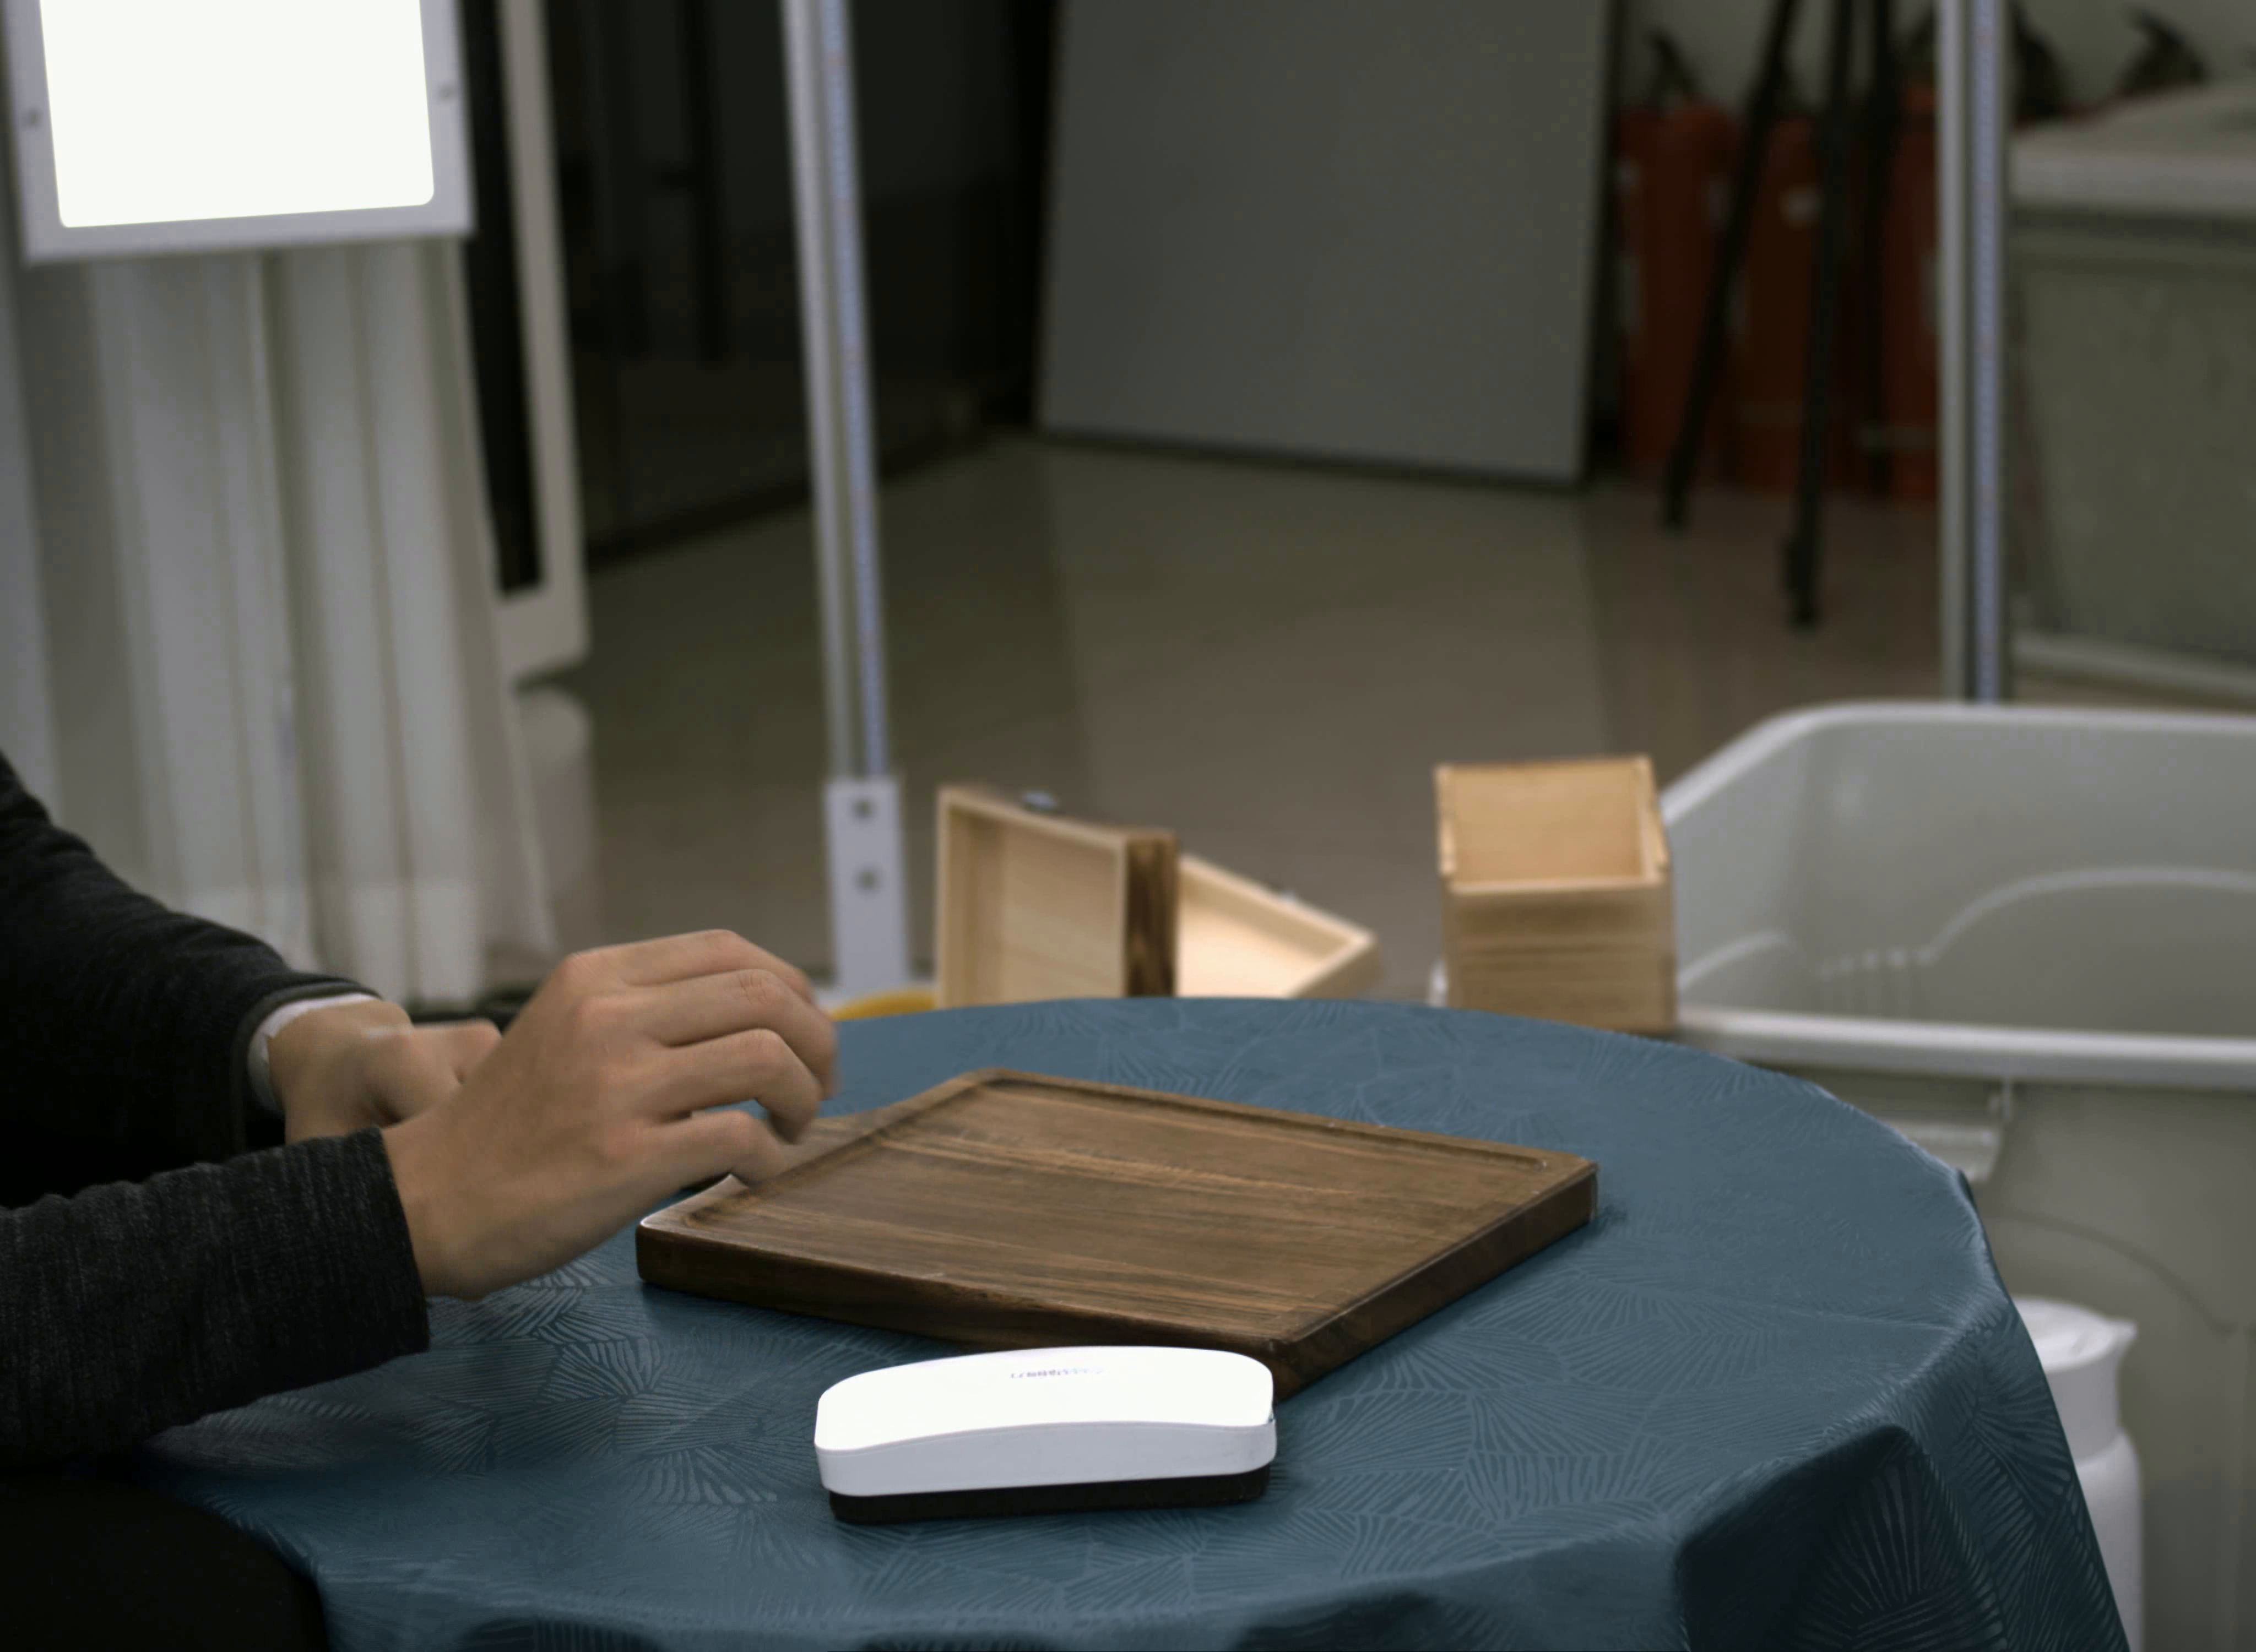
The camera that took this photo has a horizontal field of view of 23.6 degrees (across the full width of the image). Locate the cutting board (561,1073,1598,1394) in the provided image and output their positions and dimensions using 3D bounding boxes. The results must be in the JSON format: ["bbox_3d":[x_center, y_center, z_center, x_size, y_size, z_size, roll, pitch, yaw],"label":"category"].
[{"bbox_3d":[-0.042,0.121,1.739,0.354,0.023,0.197,6,17,35],"label":"cutting board"}]

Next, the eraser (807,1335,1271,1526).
[{"bbox_3d":[-0.024,0.169,1.515,0.130,0.035,0.063,-2,15,2],"label":"eraser"}]
